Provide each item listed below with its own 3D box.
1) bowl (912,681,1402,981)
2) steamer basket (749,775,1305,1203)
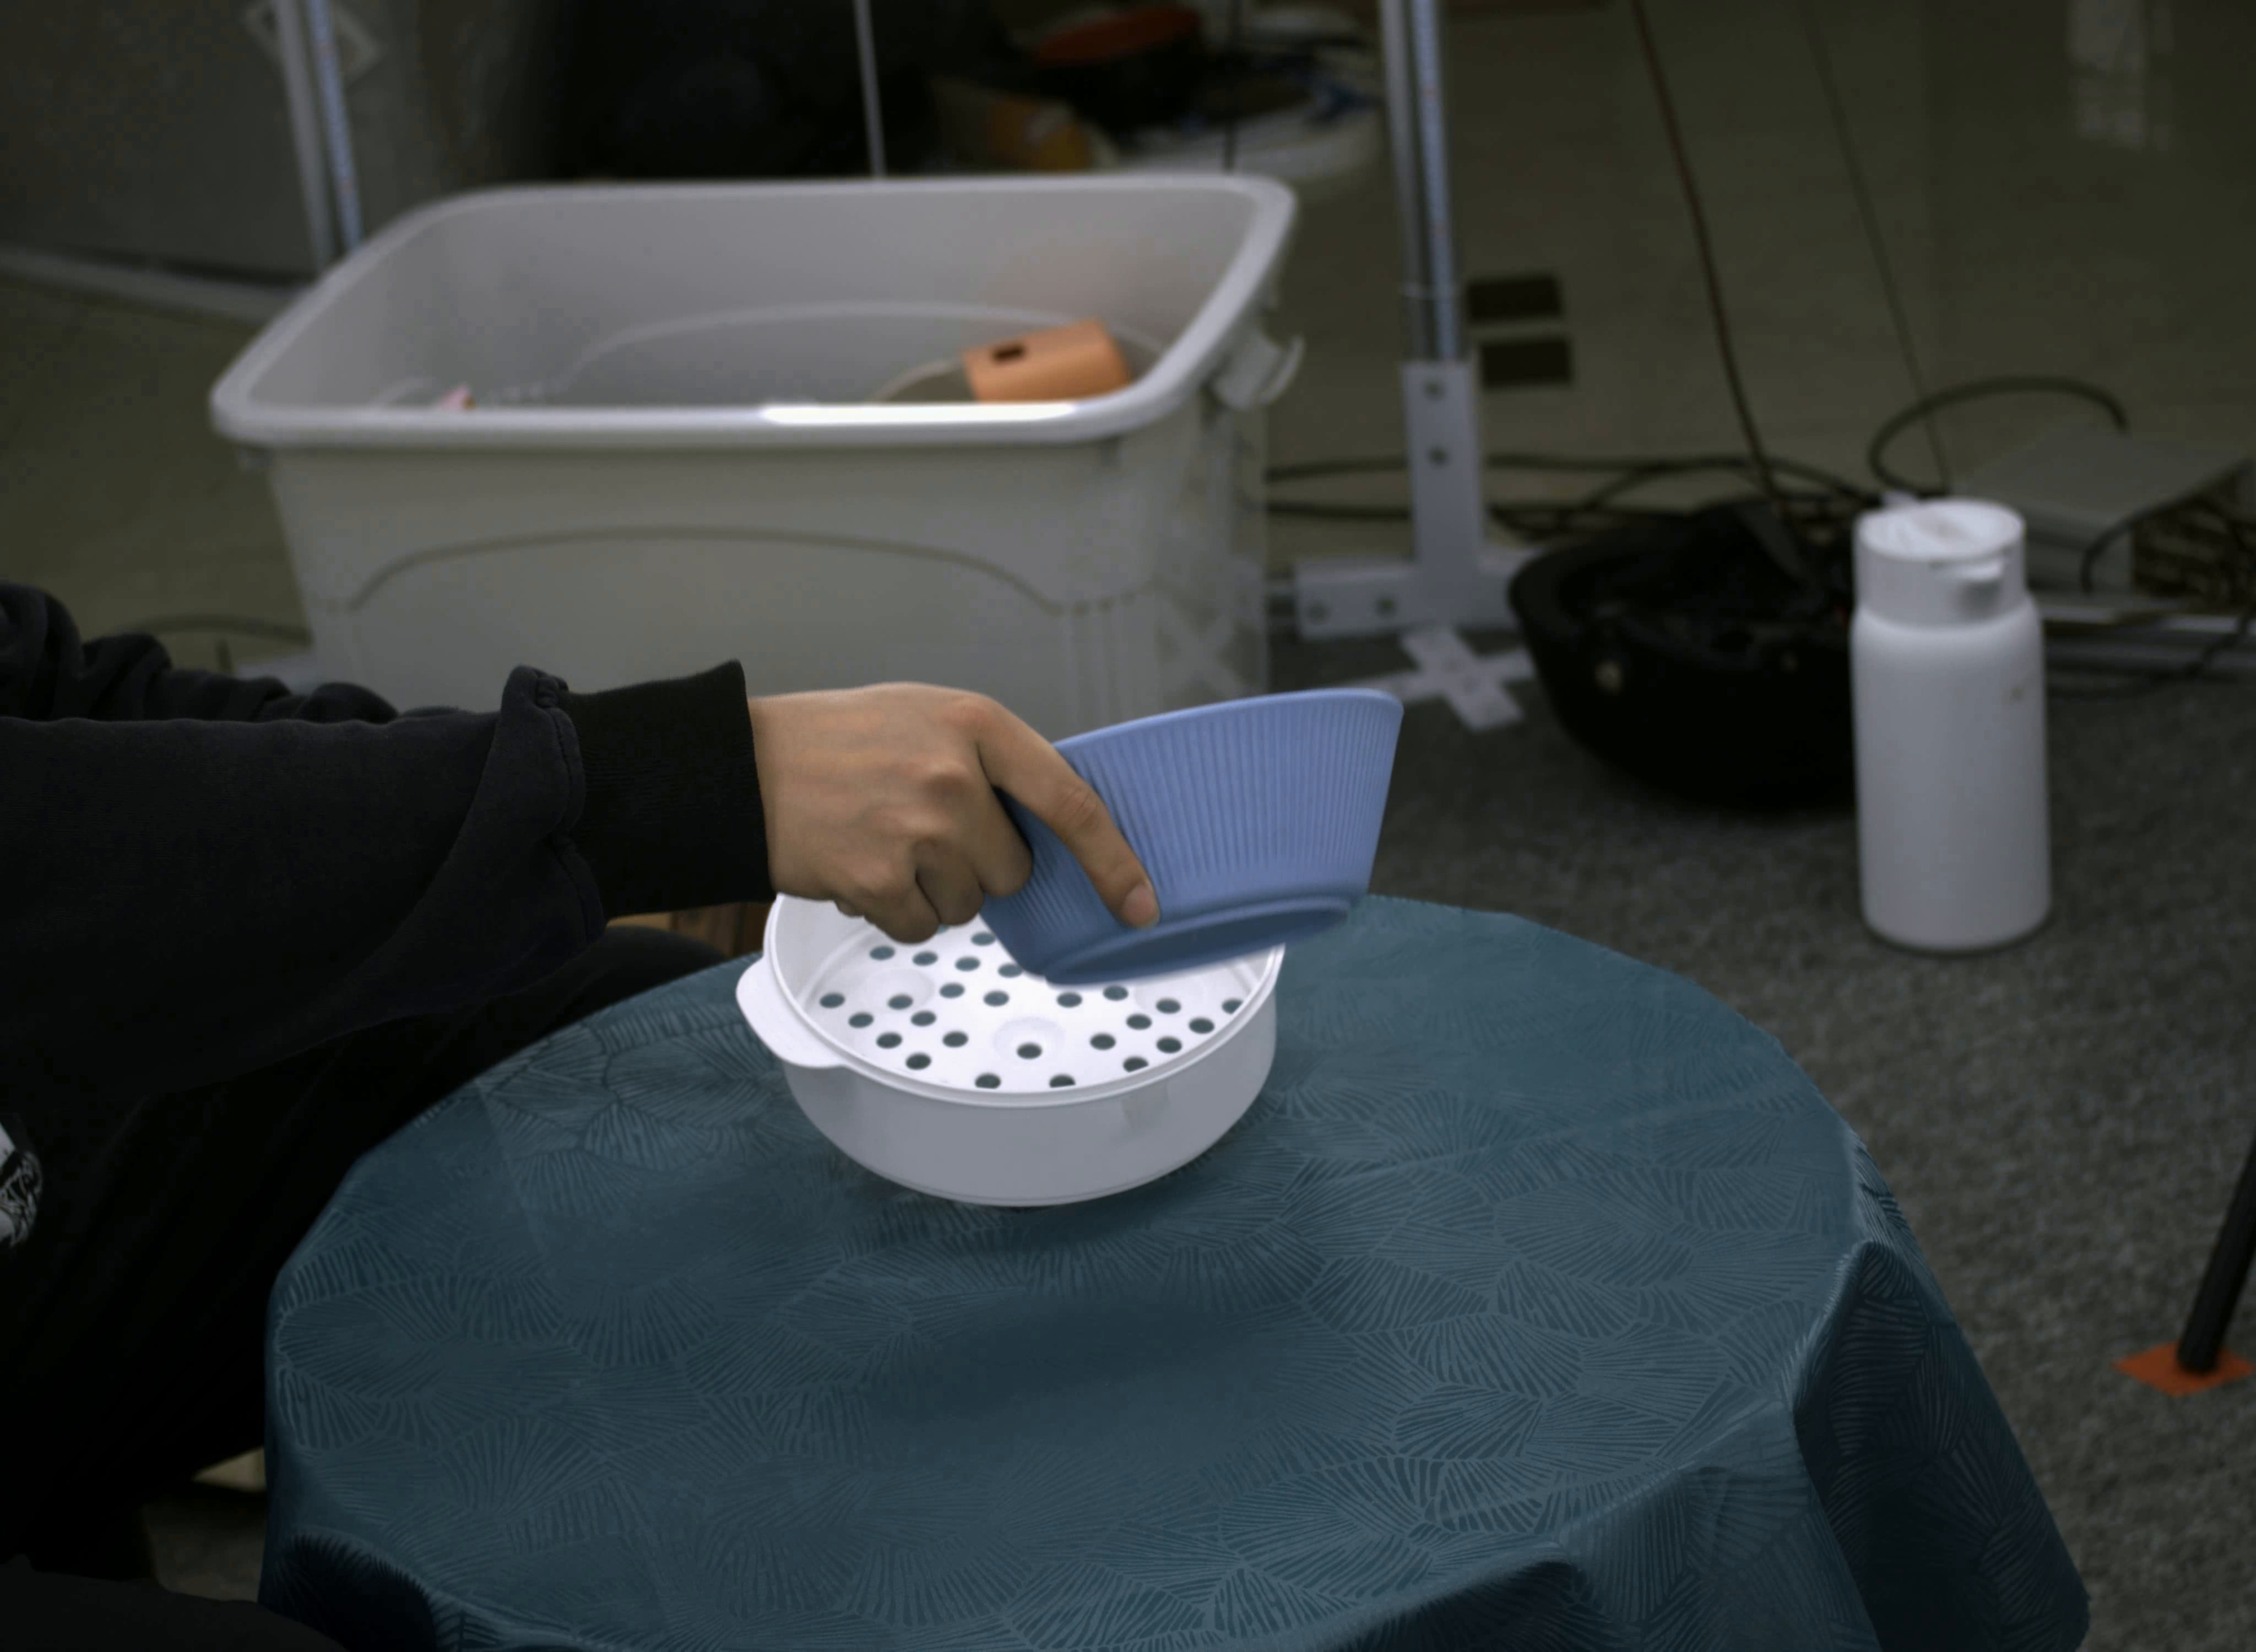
[{"bbox_3d":[0.017,0.006,1.959,0.176,0.070,0.177,-13,-9,-2],"label":"bowl"},{"bbox_3d":[-0.035,0.063,2.201,0.229,0.070,0.199,-17,42,-22],"label":"steamer basket"}]
